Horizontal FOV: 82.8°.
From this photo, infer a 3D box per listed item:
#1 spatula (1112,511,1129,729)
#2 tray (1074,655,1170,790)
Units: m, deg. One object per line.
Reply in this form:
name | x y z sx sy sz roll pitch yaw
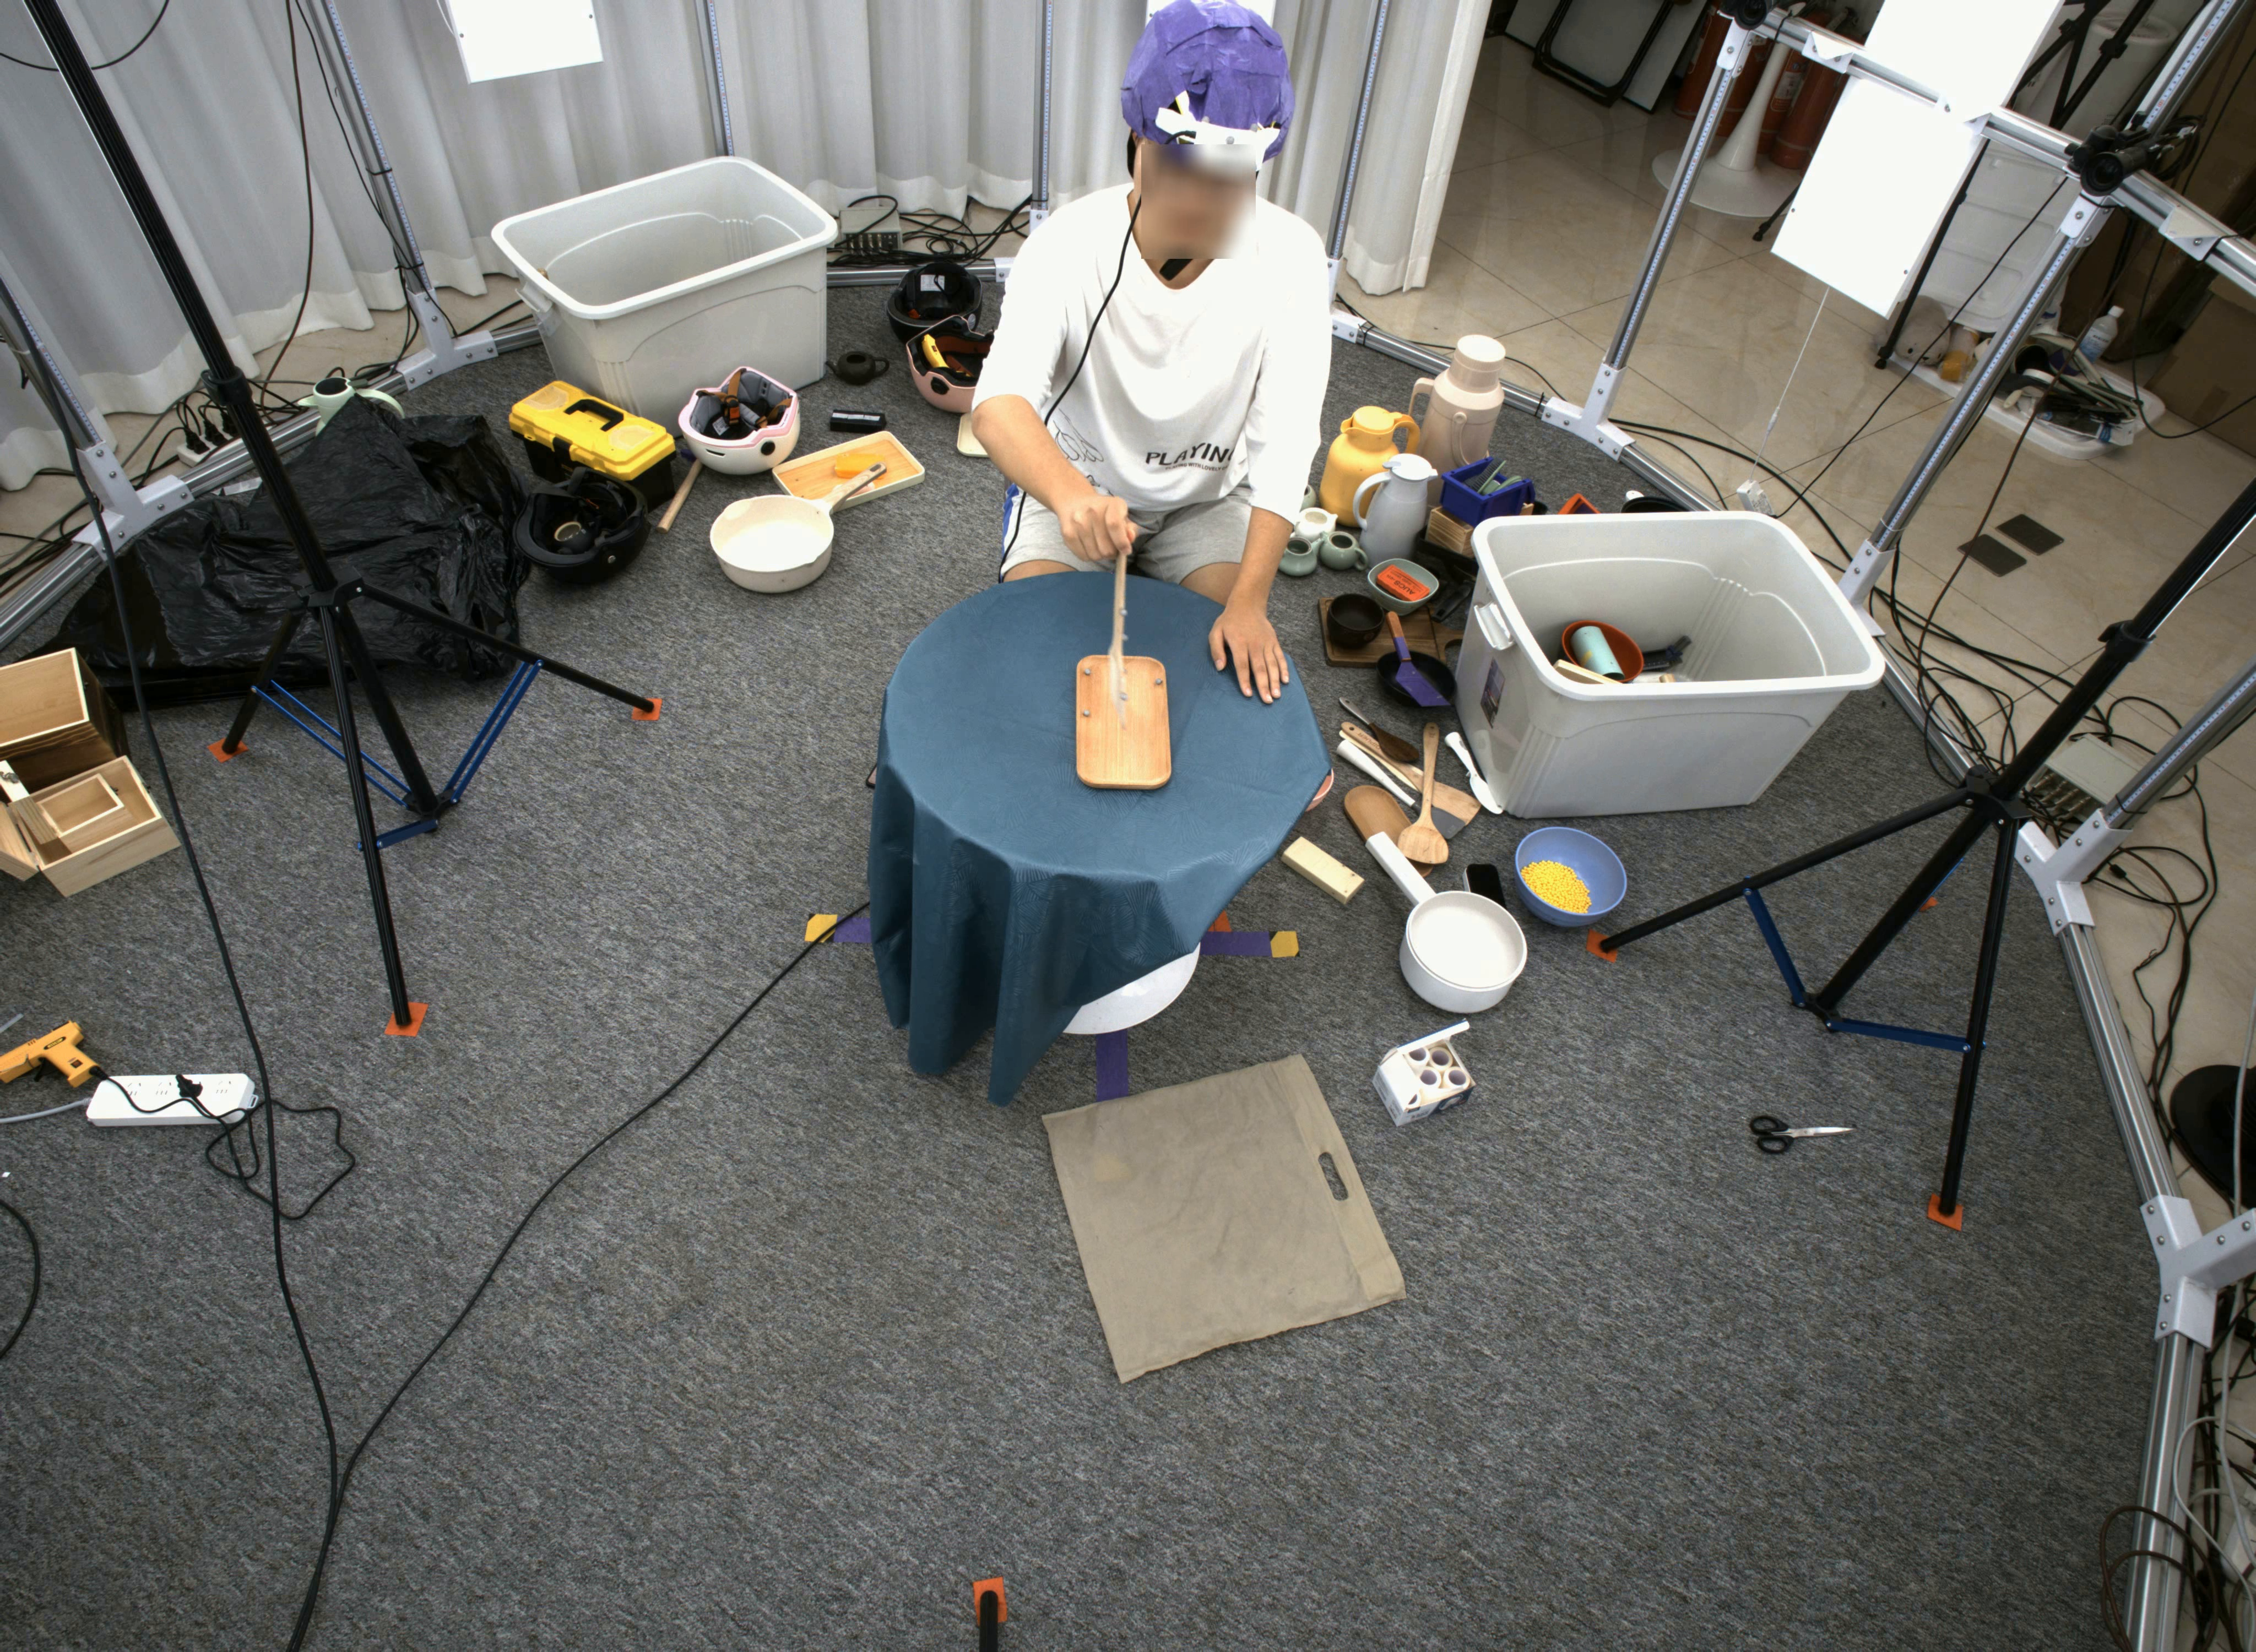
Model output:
spatula | -0.007 -0.251 1.579 0.010 0.286 0.074 -8 41 -11
tray | -0.009 -0.146 1.780 0.130 0.022 0.257 1 49 0
